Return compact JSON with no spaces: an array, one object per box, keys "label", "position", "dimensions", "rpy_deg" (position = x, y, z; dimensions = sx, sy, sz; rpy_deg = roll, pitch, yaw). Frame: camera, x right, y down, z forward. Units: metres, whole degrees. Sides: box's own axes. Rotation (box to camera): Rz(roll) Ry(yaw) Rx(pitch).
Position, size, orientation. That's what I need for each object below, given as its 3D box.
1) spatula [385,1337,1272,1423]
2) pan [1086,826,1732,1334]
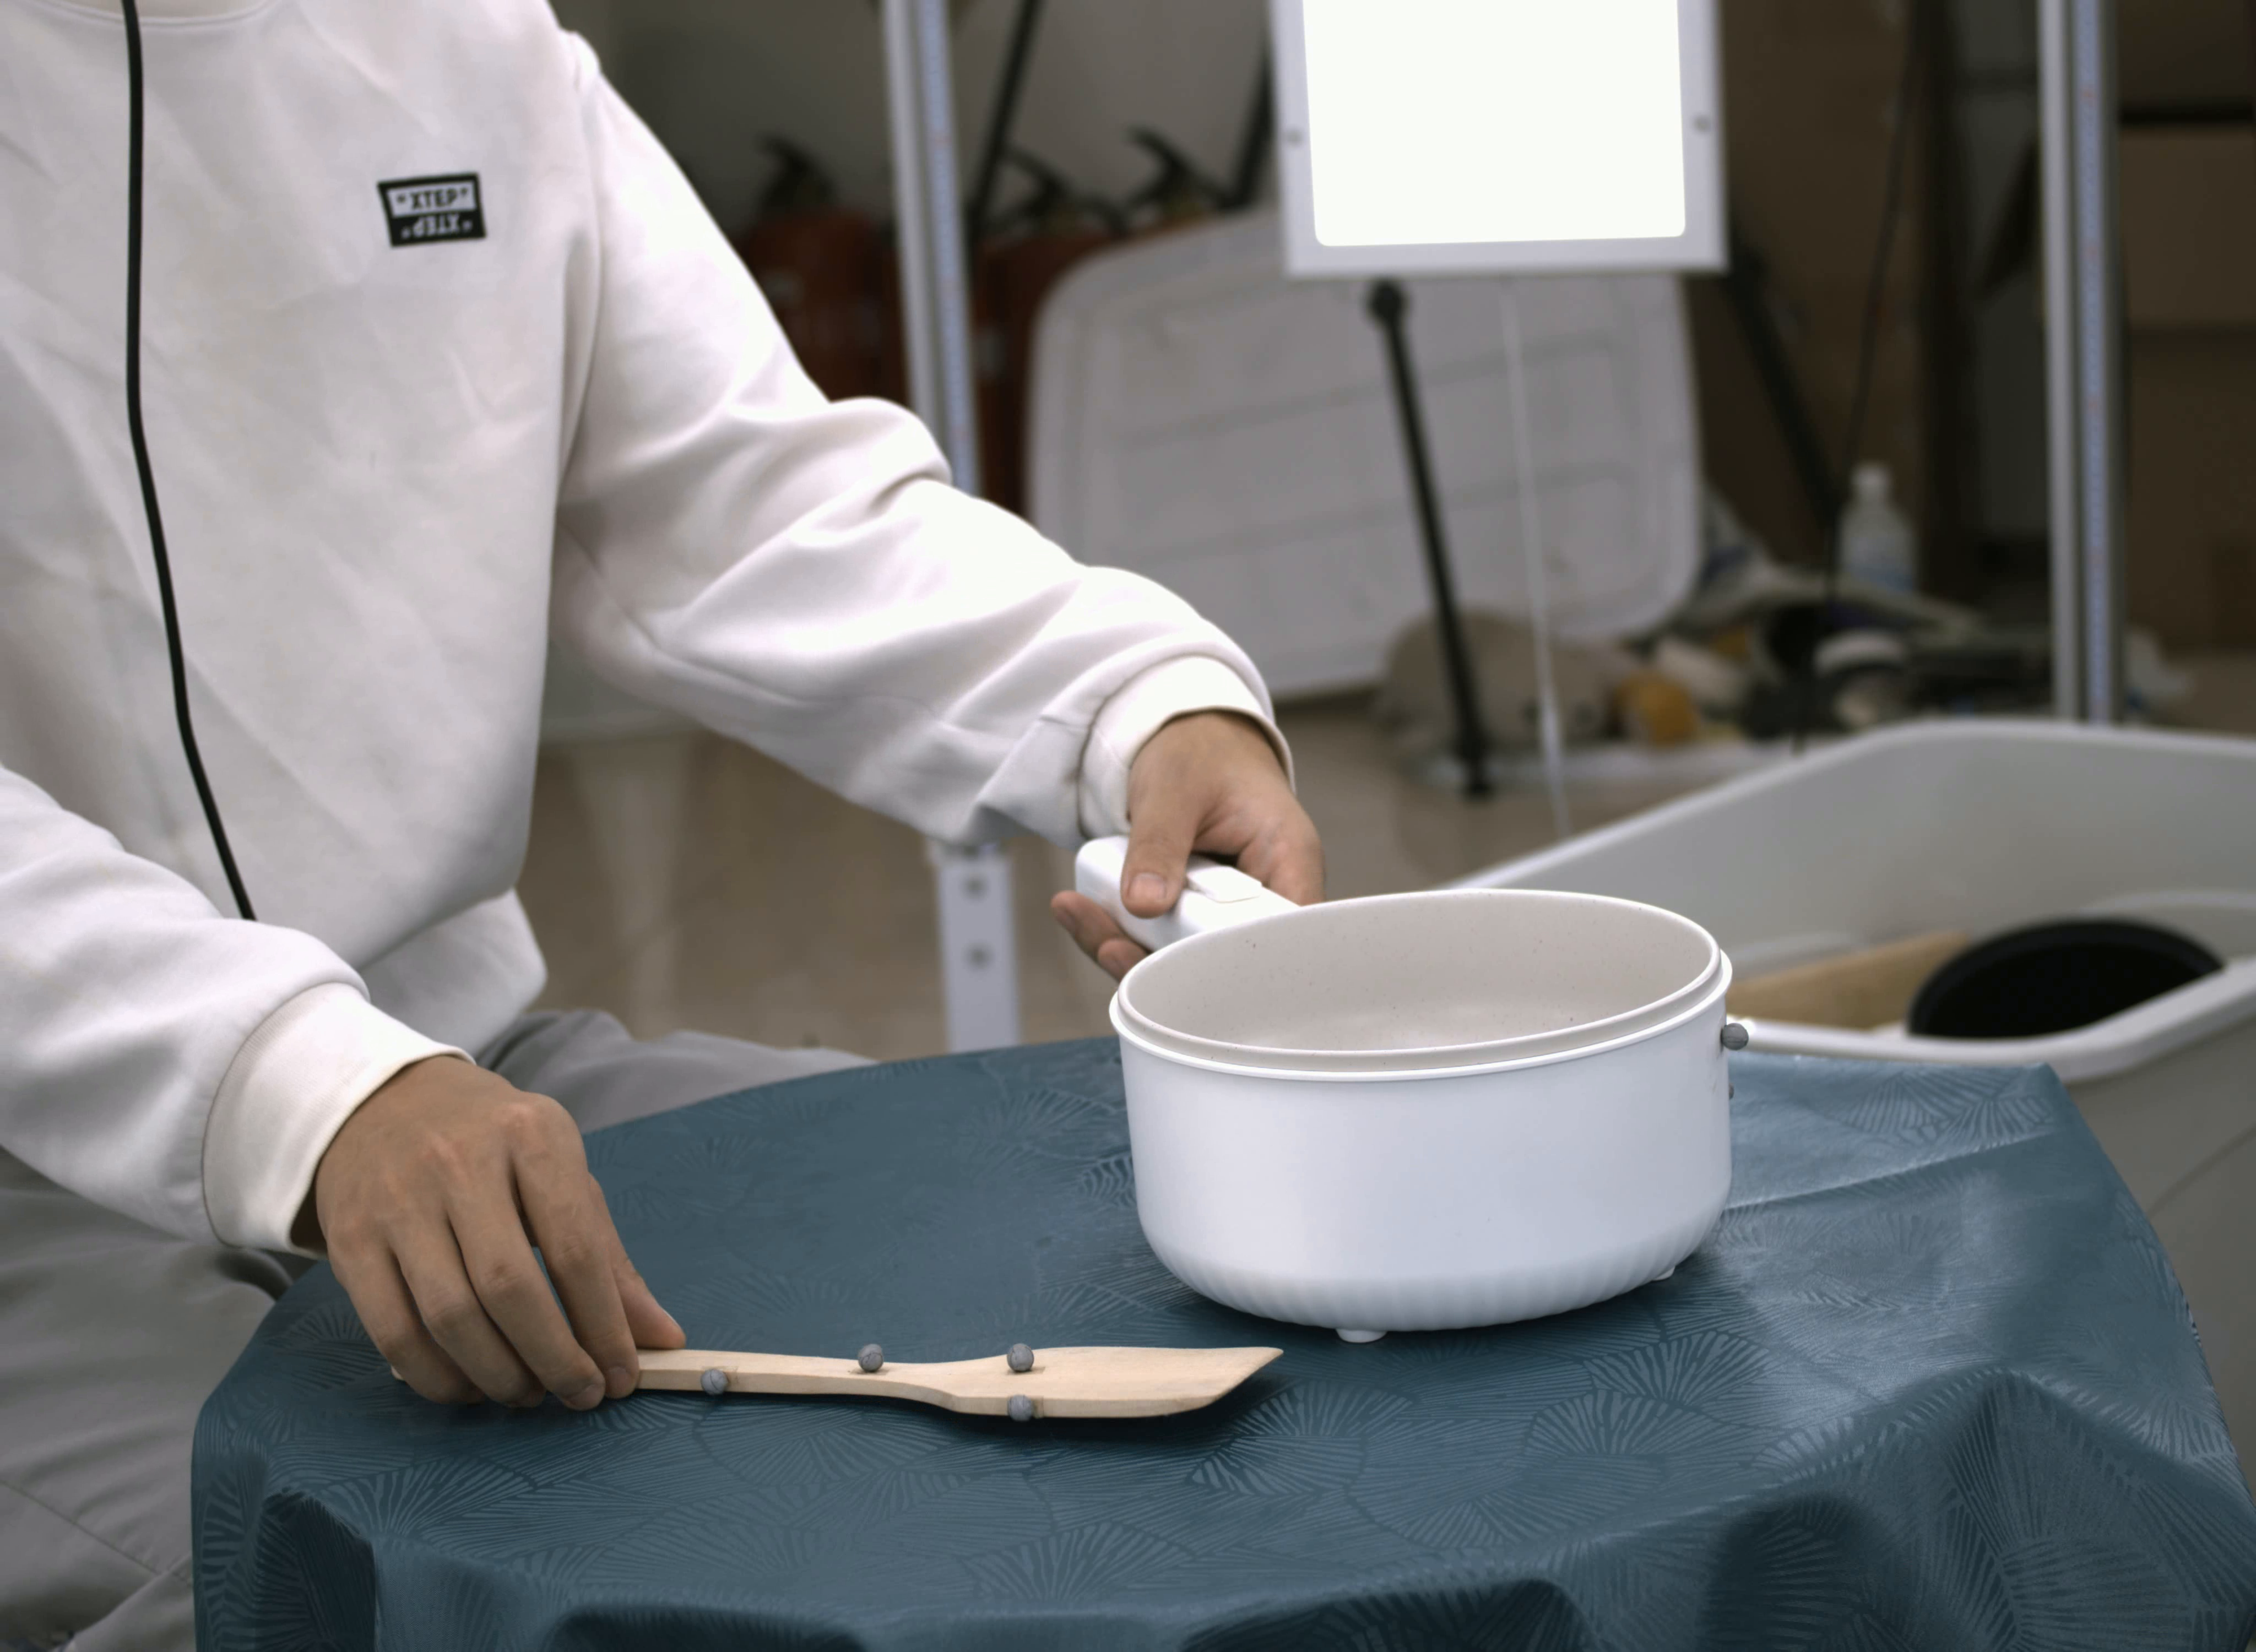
[{"label":"spatula","position":[-0.101,0.171,1.727],"dimensions":[0.297,0.011,0.071],"rpy_deg":[-1,10,23]},{"label":"pan","position":[0.069,0.079,1.852],"dimensions":[0.197,0.102,0.360],"rpy_deg":[-10,13,-20]}]
